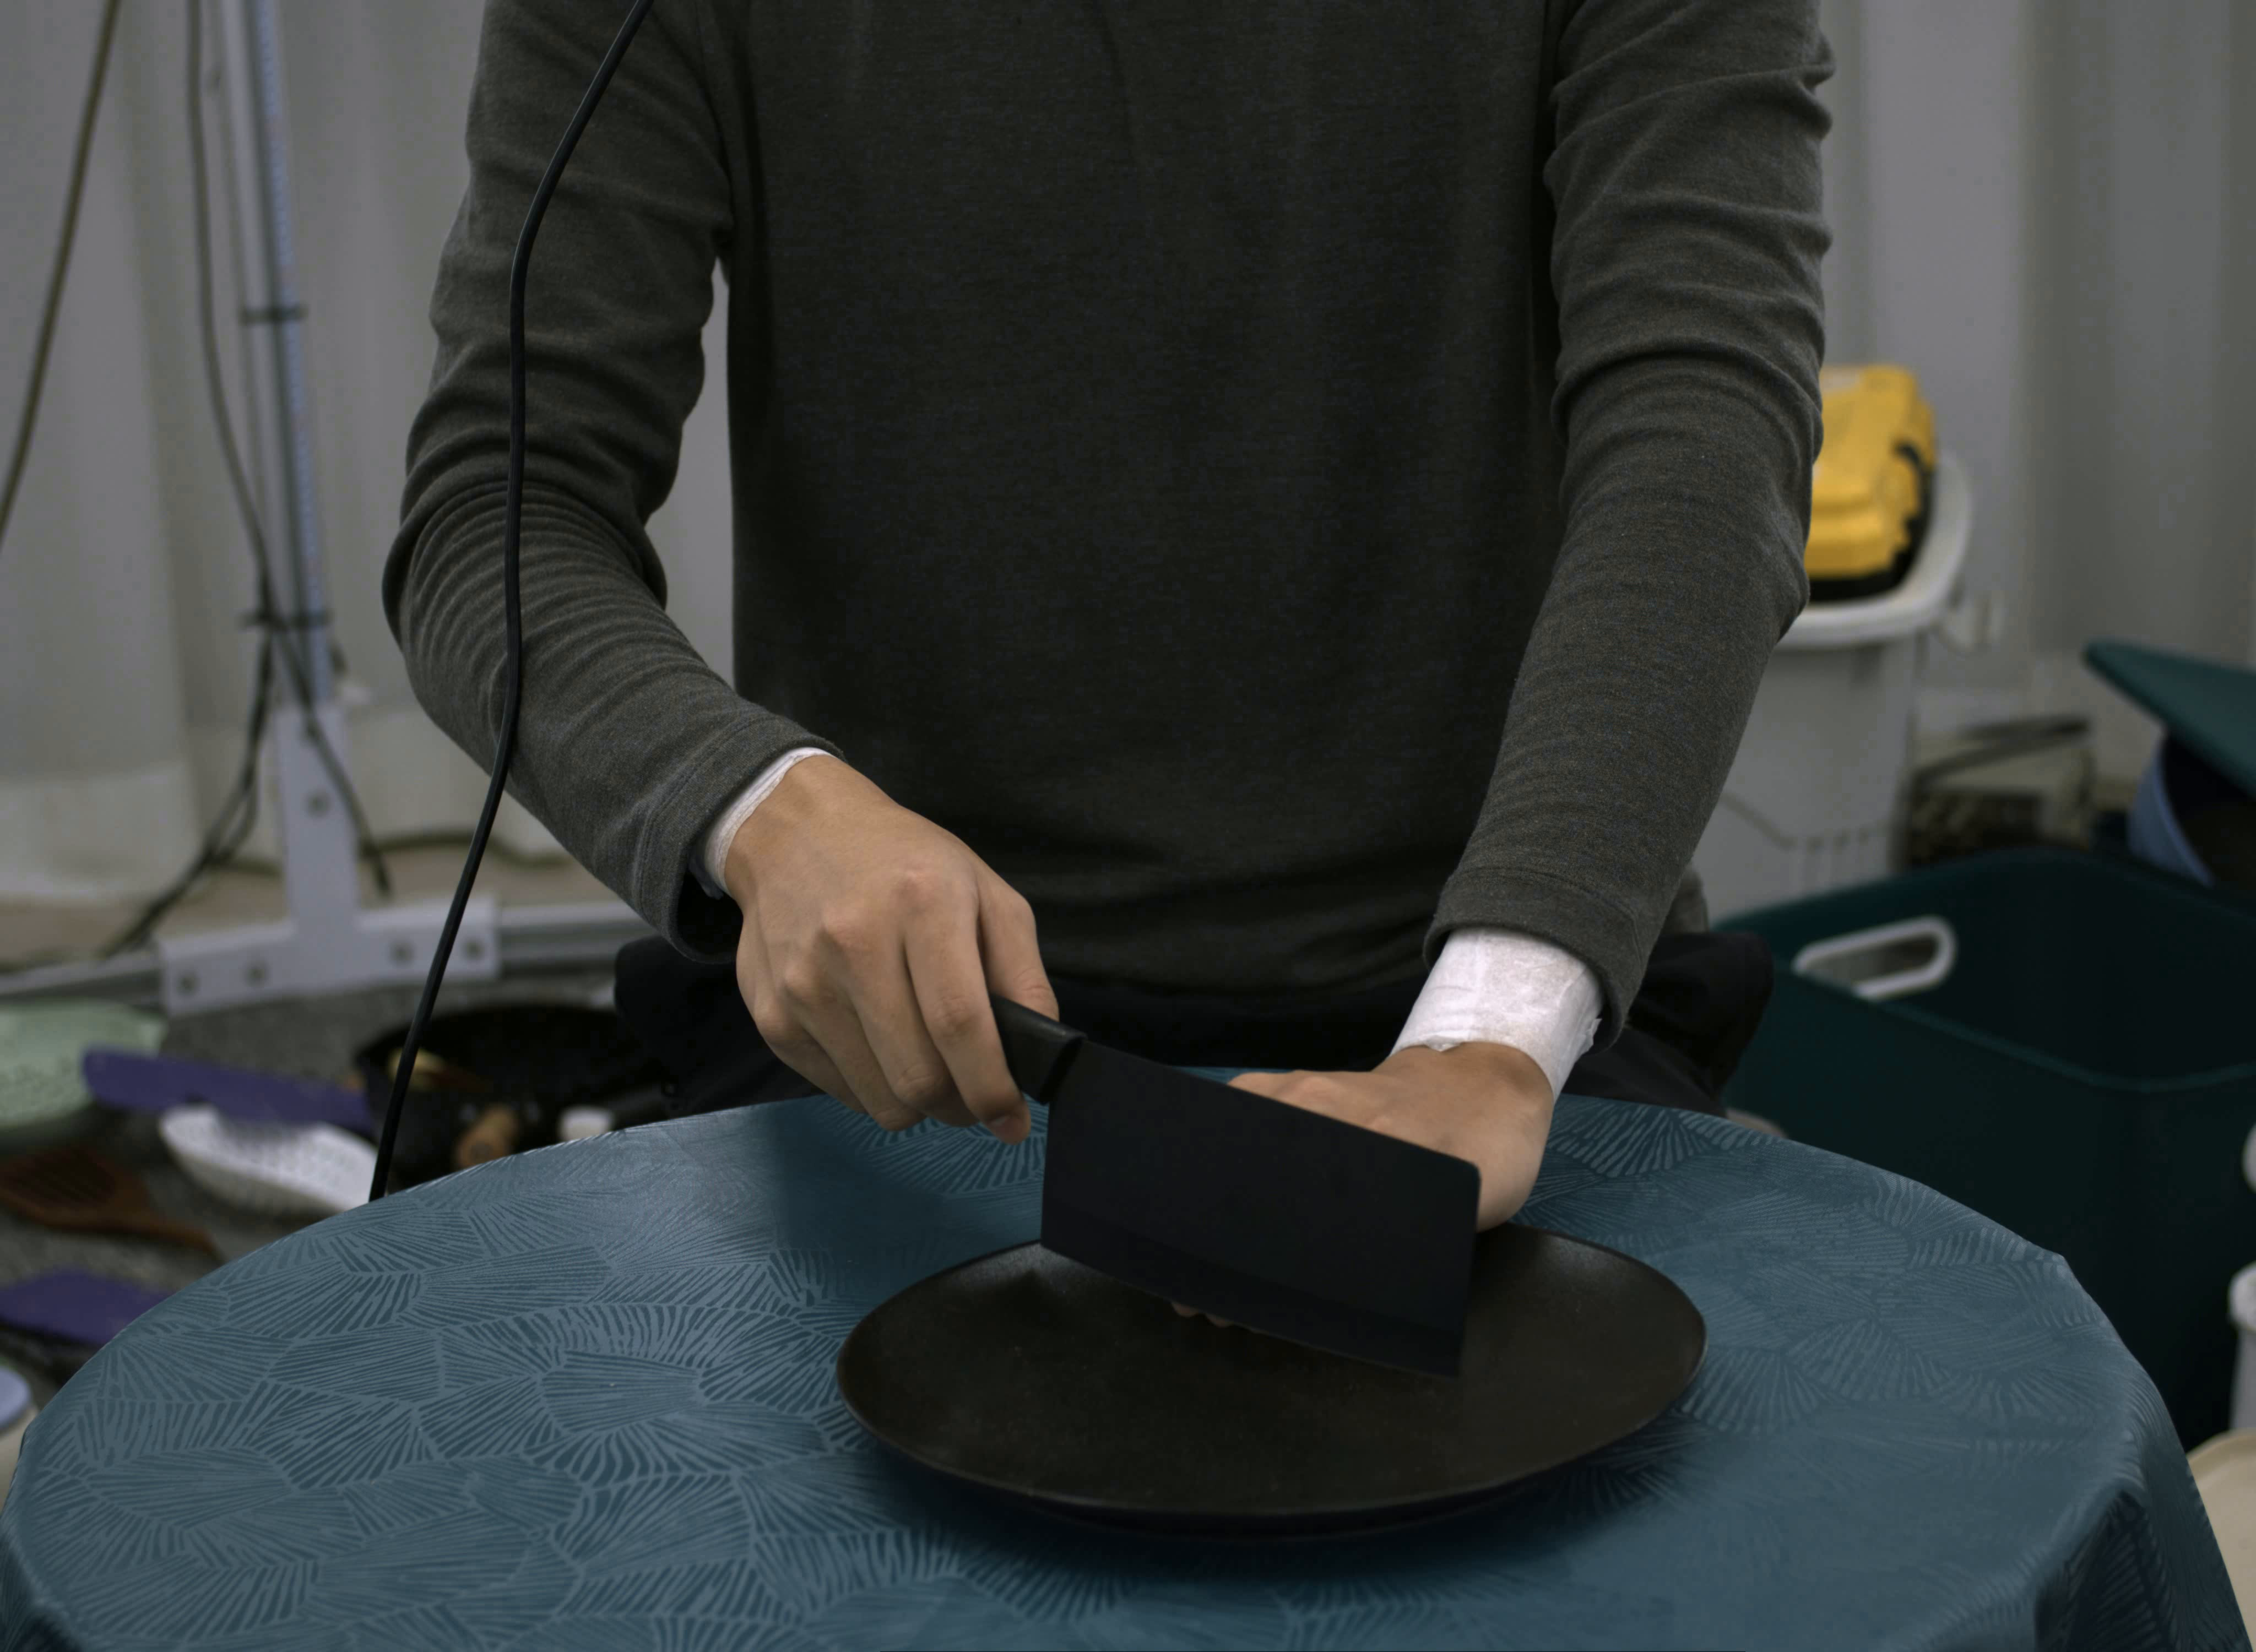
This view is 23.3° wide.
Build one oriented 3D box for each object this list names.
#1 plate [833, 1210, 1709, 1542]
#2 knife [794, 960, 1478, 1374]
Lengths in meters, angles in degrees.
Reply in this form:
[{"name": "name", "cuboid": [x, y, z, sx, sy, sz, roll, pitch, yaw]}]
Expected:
[{"name": "plate", "cuboid": [0.040, 0.154, 1.517, 0.243, 0.023, 0.246, -3, 15, 0]}, {"name": "knife", "cuboid": [-0.003, 0.092, 1.576, 0.021, 0.081, 0.305, 0, 14, -40]}]
